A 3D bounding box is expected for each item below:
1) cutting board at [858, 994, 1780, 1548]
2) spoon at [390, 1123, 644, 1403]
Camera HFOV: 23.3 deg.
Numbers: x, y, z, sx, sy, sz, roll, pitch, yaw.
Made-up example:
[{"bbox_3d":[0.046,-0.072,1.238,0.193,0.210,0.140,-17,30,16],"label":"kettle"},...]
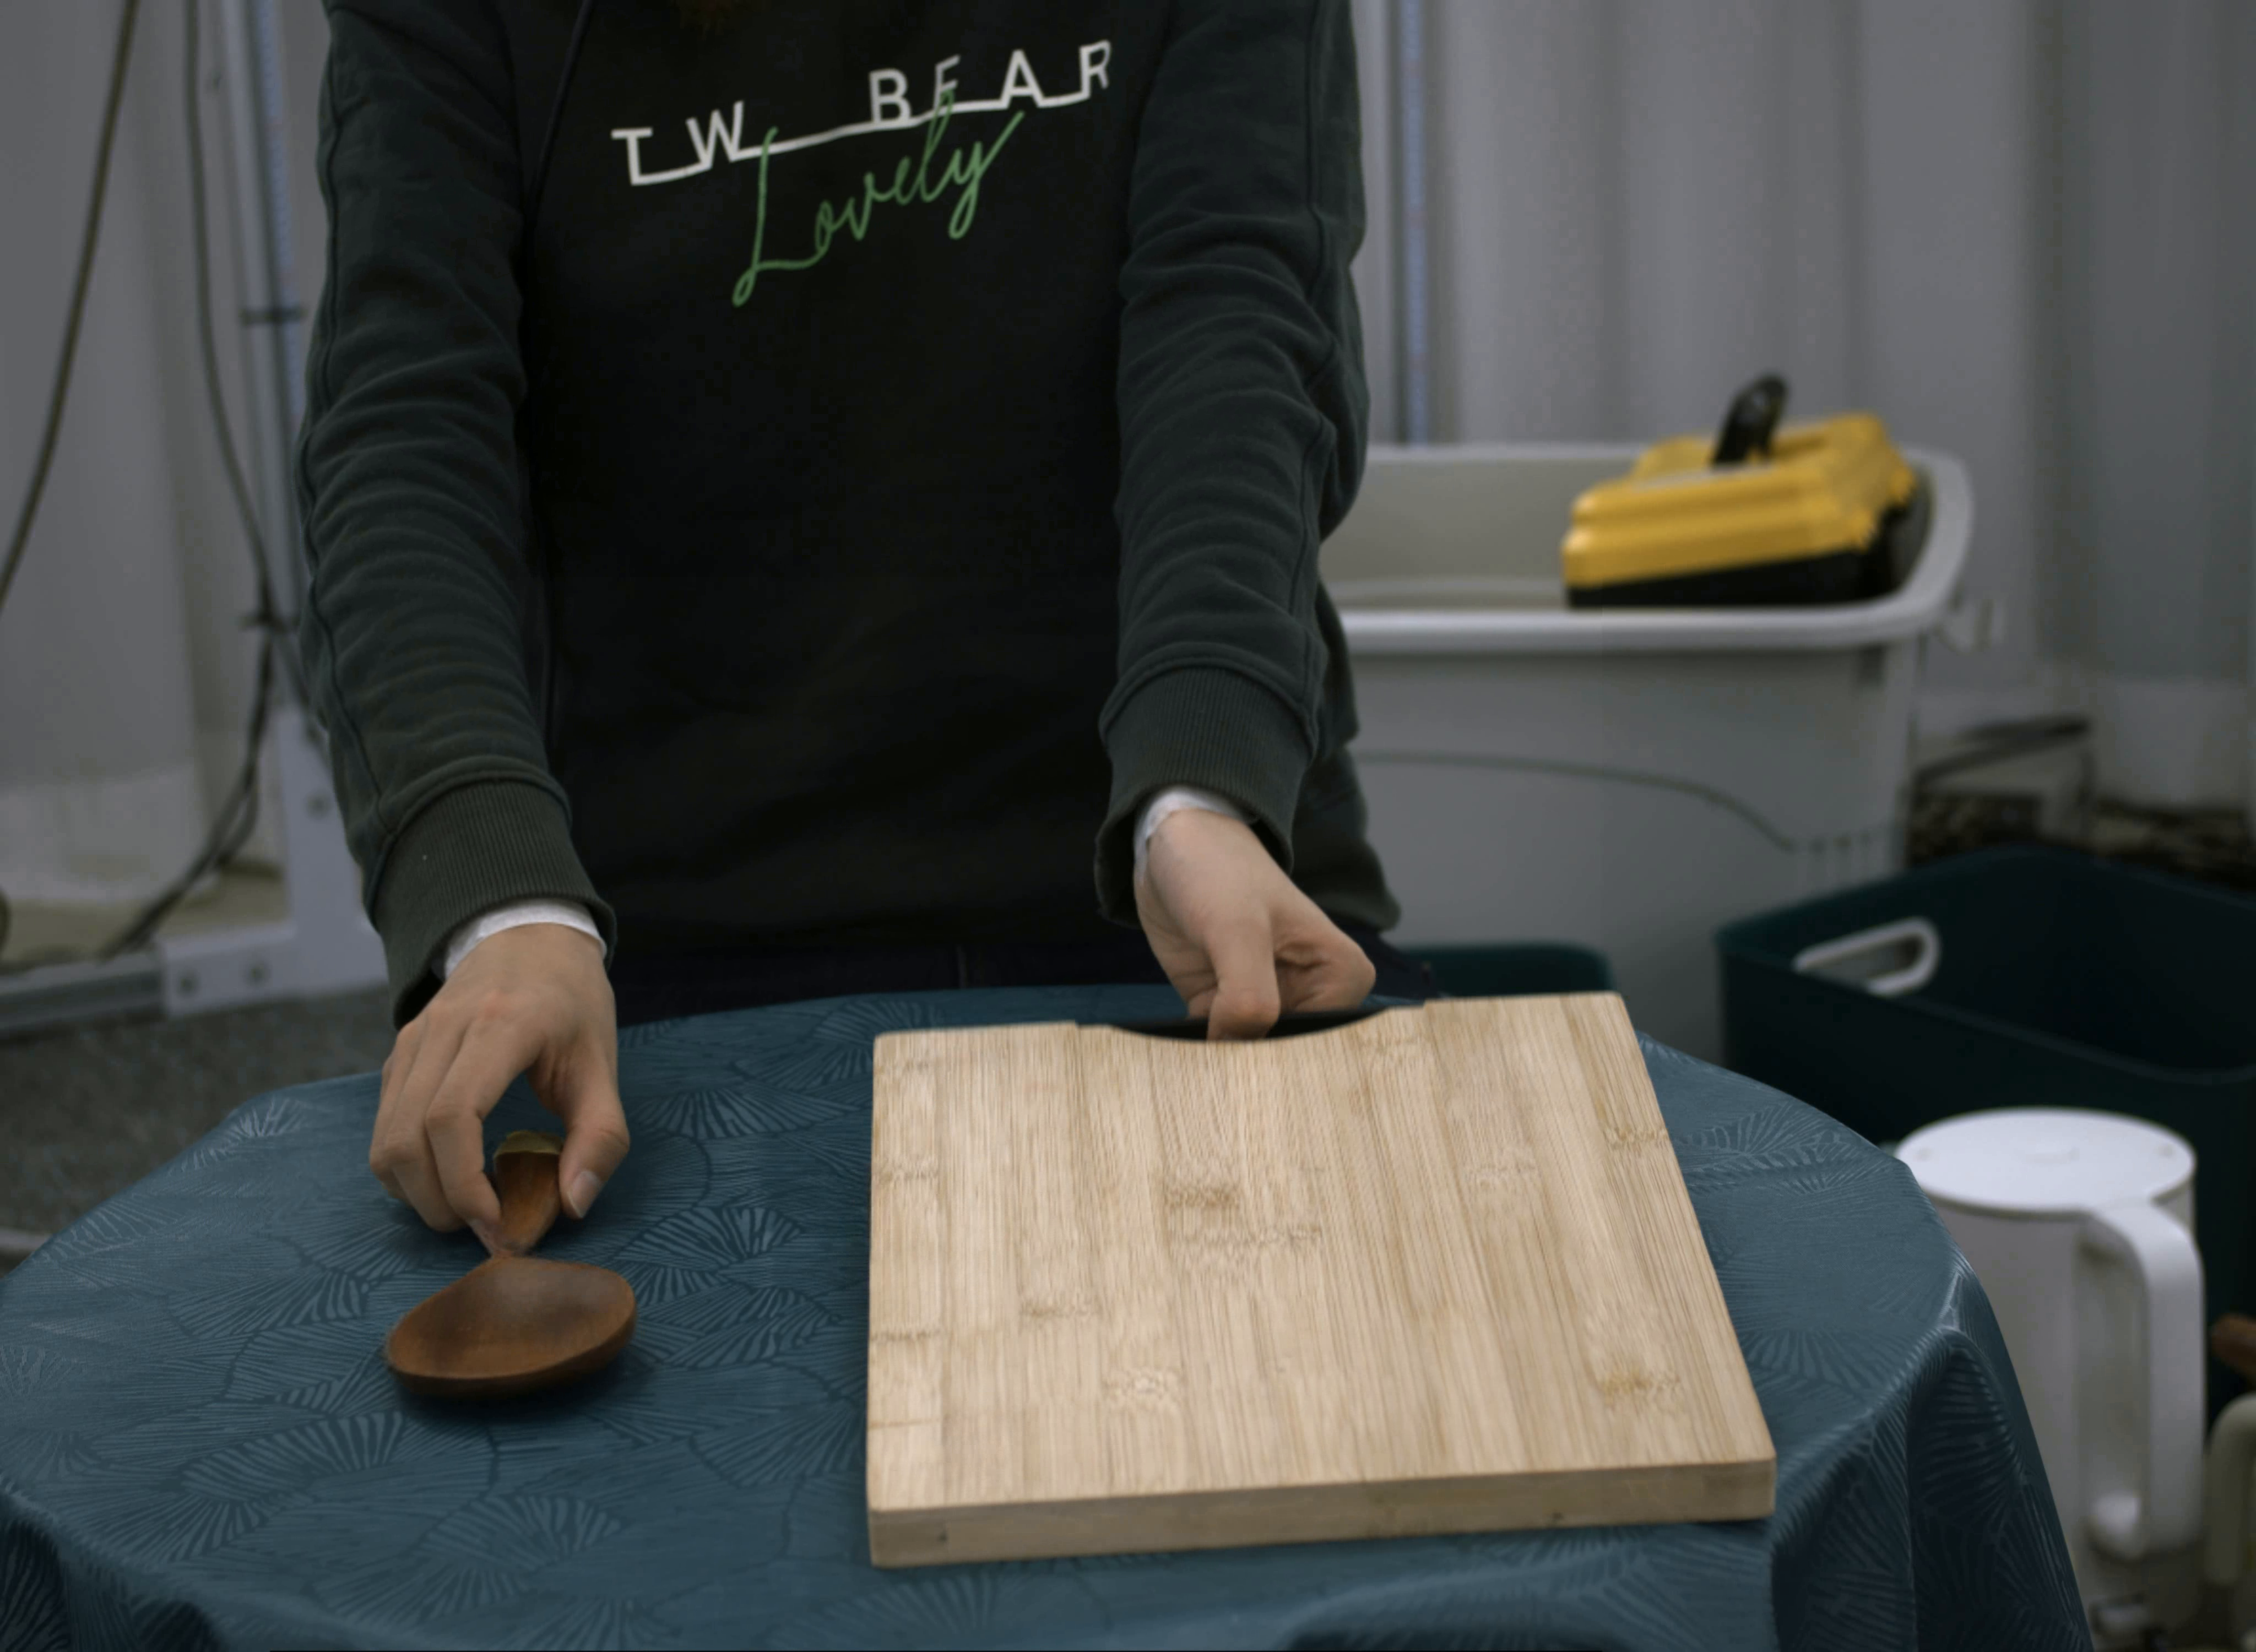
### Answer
[{"bbox_3d":[0.045,0.124,1.594,0.250,0.023,0.352,-3,19,-2],"label":"cutting board"},{"bbox_3d":[-0.181,0.131,1.642,0.075,0.017,0.217,-11,17,-1],"label":"spoon"}]
